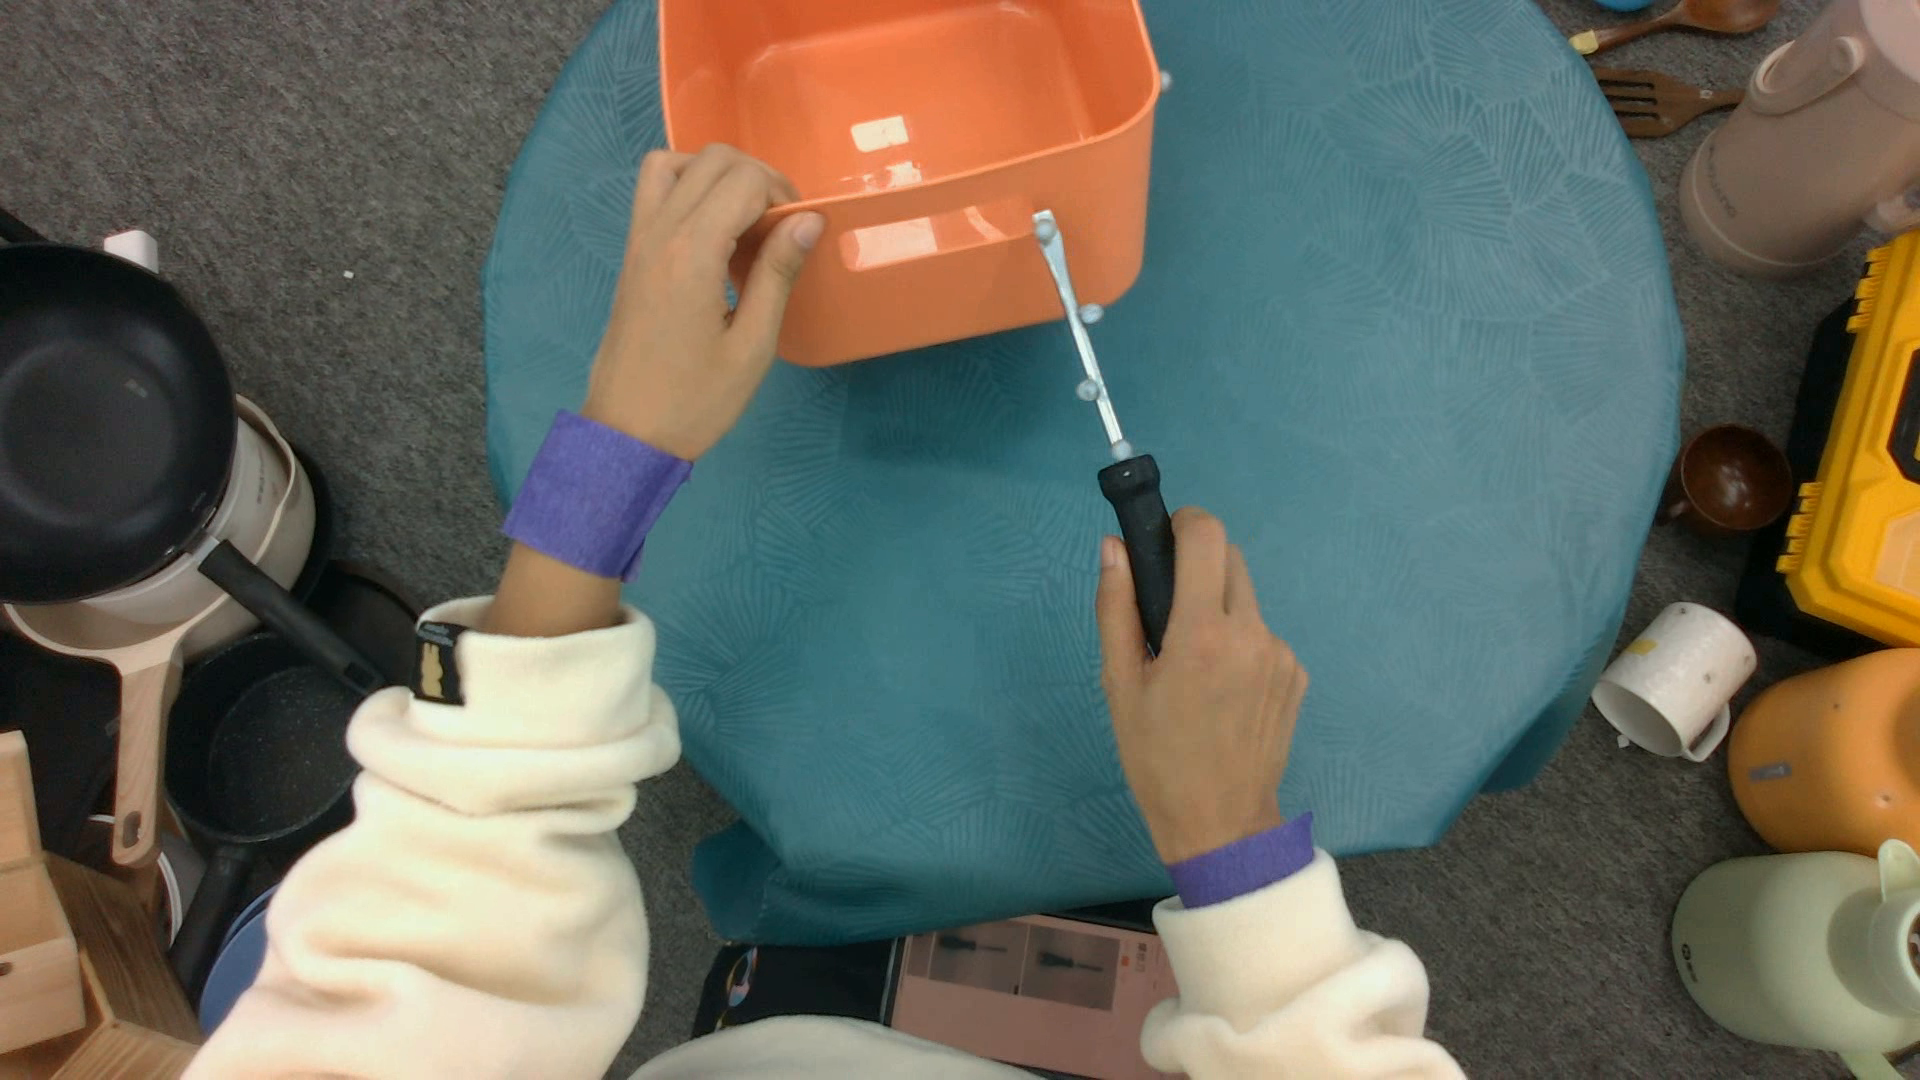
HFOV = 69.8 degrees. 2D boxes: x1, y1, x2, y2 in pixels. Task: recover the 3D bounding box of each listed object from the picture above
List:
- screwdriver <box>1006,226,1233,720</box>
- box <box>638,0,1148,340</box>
[{"bbox_3d":[0.053,-0.025,0.518,0.031,0.031,0.198,-25,88,-6],"label":"screwdriver"},{"bbox_3d":[-0.035,-0.215,0.624,0.199,0.102,0.274,-10,51,-2],"label":"box"}]
